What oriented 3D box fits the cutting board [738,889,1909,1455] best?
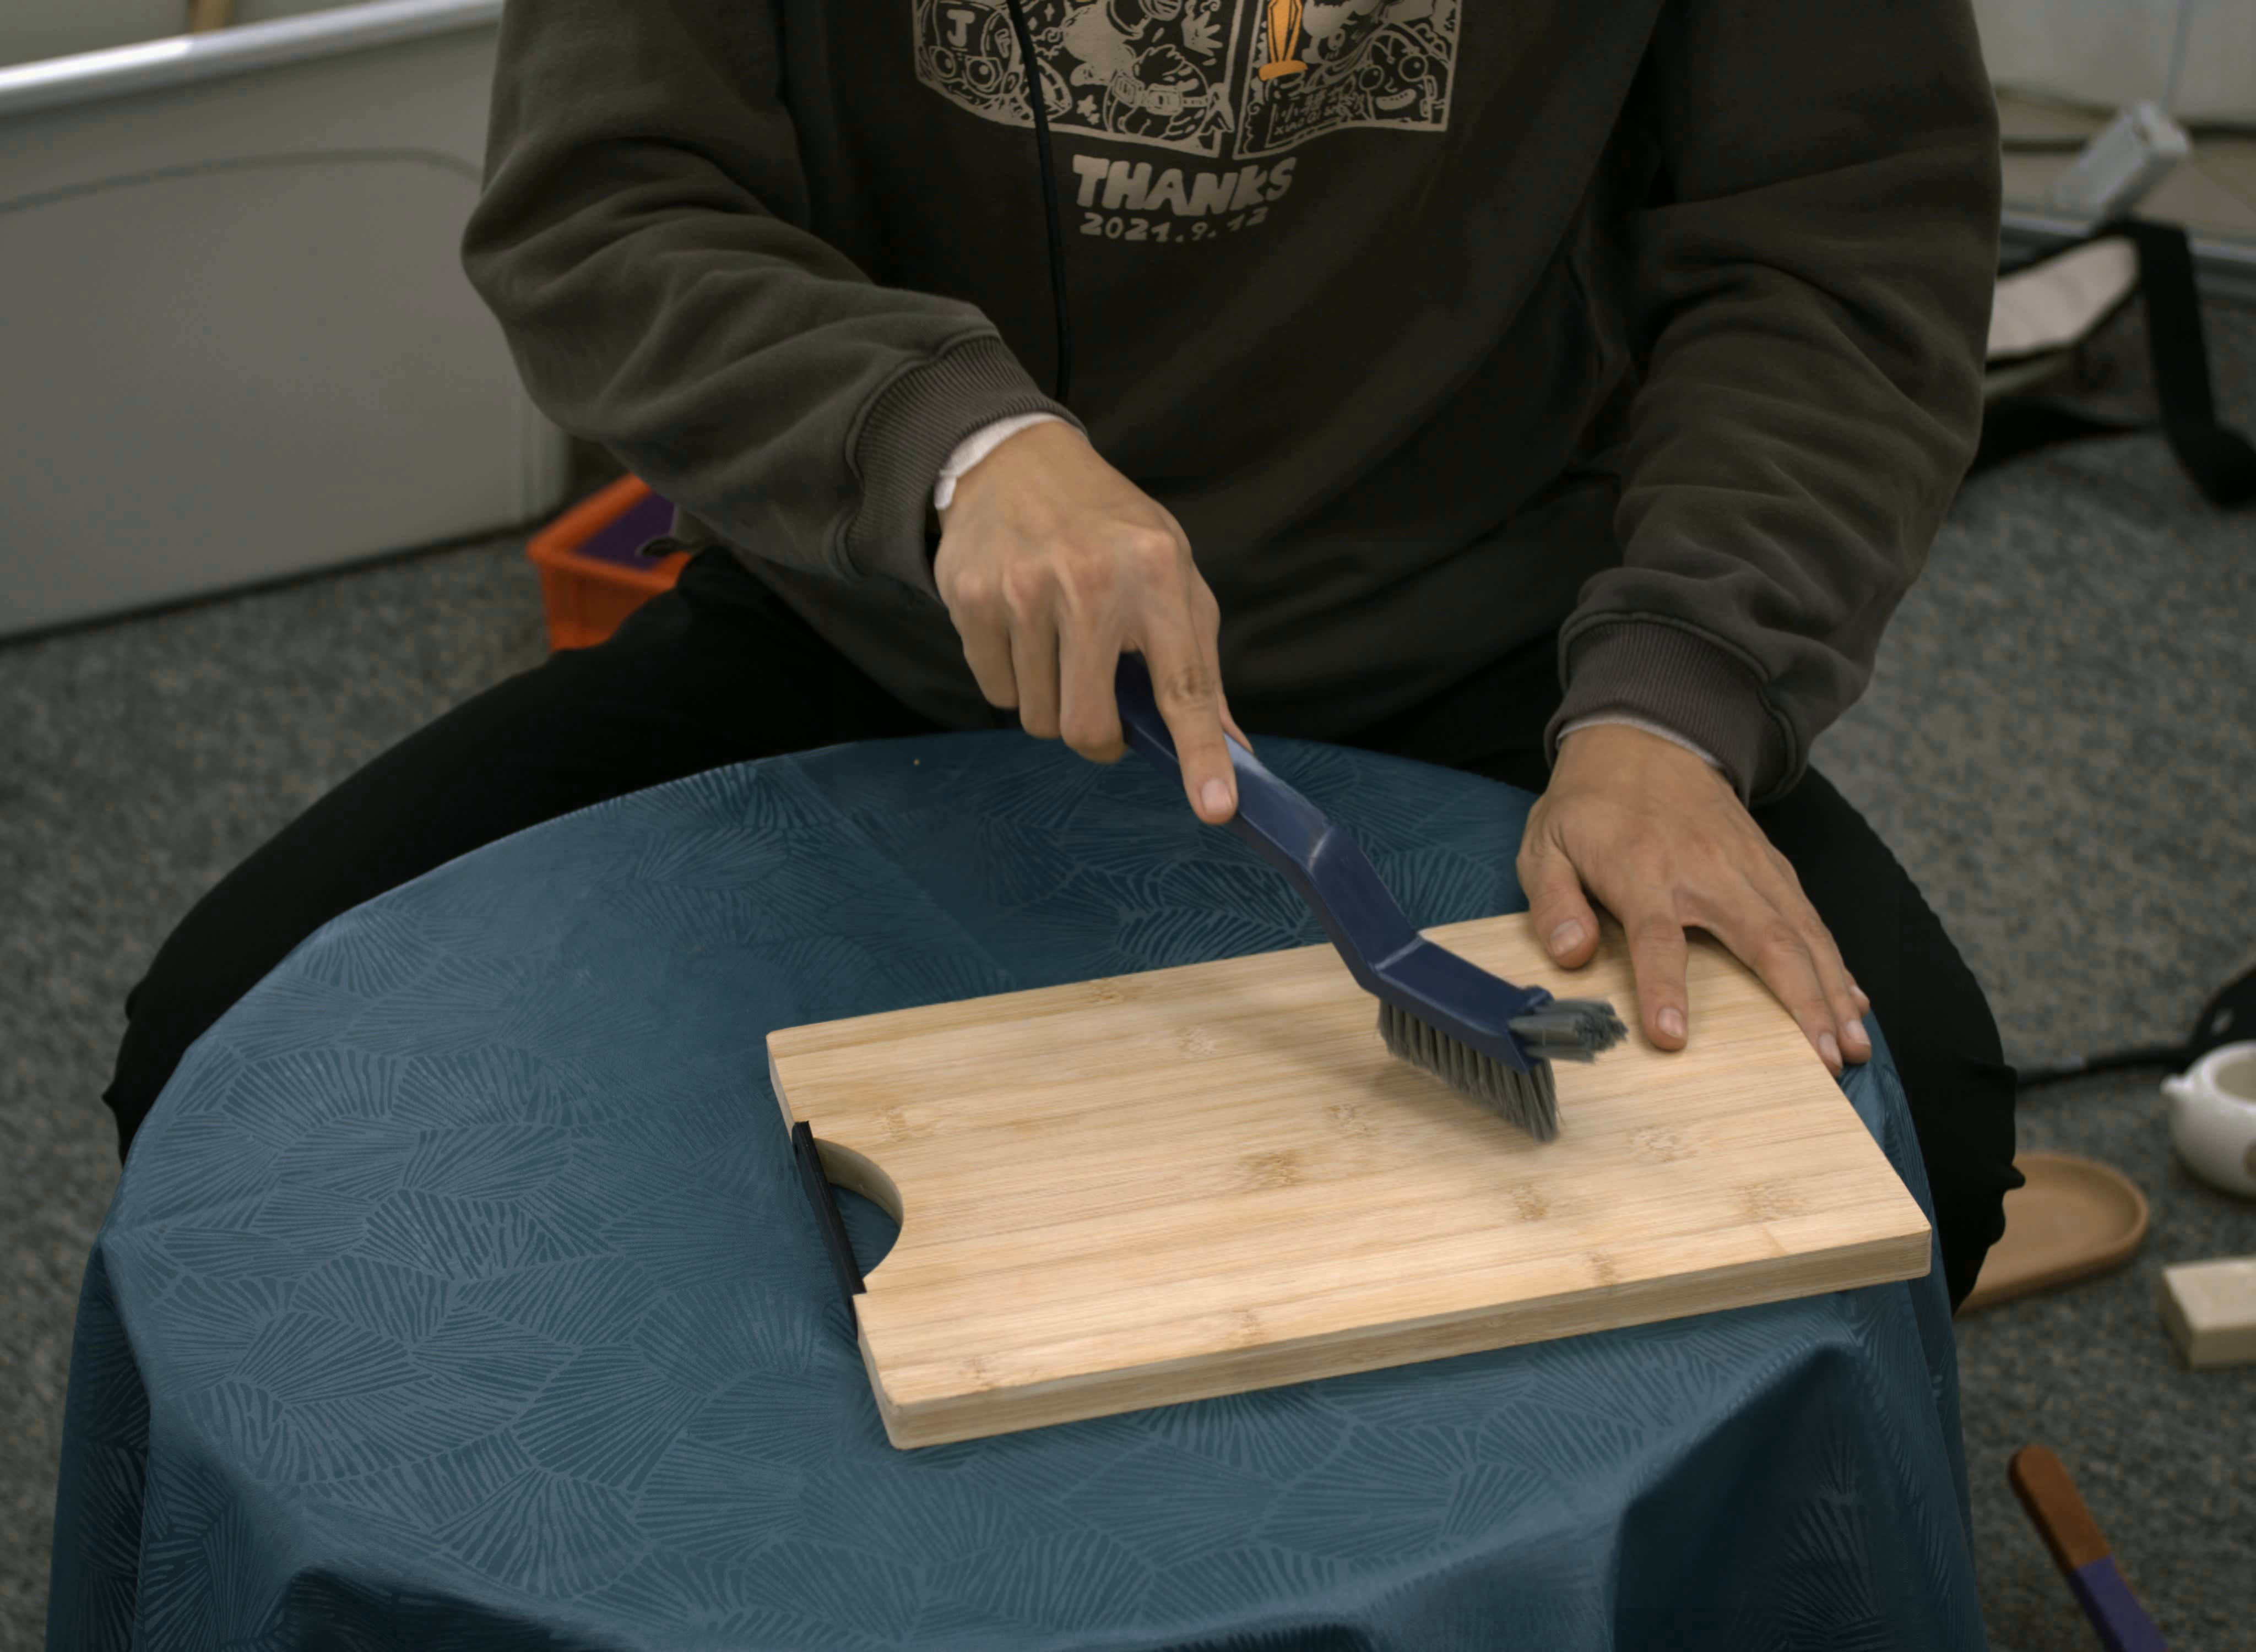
[{"bbox_3d":[0.060,0.109,1.861,0.348,0.023,0.253,-9,27,-11],"label":"cutting board"}]

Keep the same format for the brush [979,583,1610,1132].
[{"bbox_3d":[0.053,-0.002,1.873,0.034,0.094,0.274,-33,67,-29],"label":"brush"}]
